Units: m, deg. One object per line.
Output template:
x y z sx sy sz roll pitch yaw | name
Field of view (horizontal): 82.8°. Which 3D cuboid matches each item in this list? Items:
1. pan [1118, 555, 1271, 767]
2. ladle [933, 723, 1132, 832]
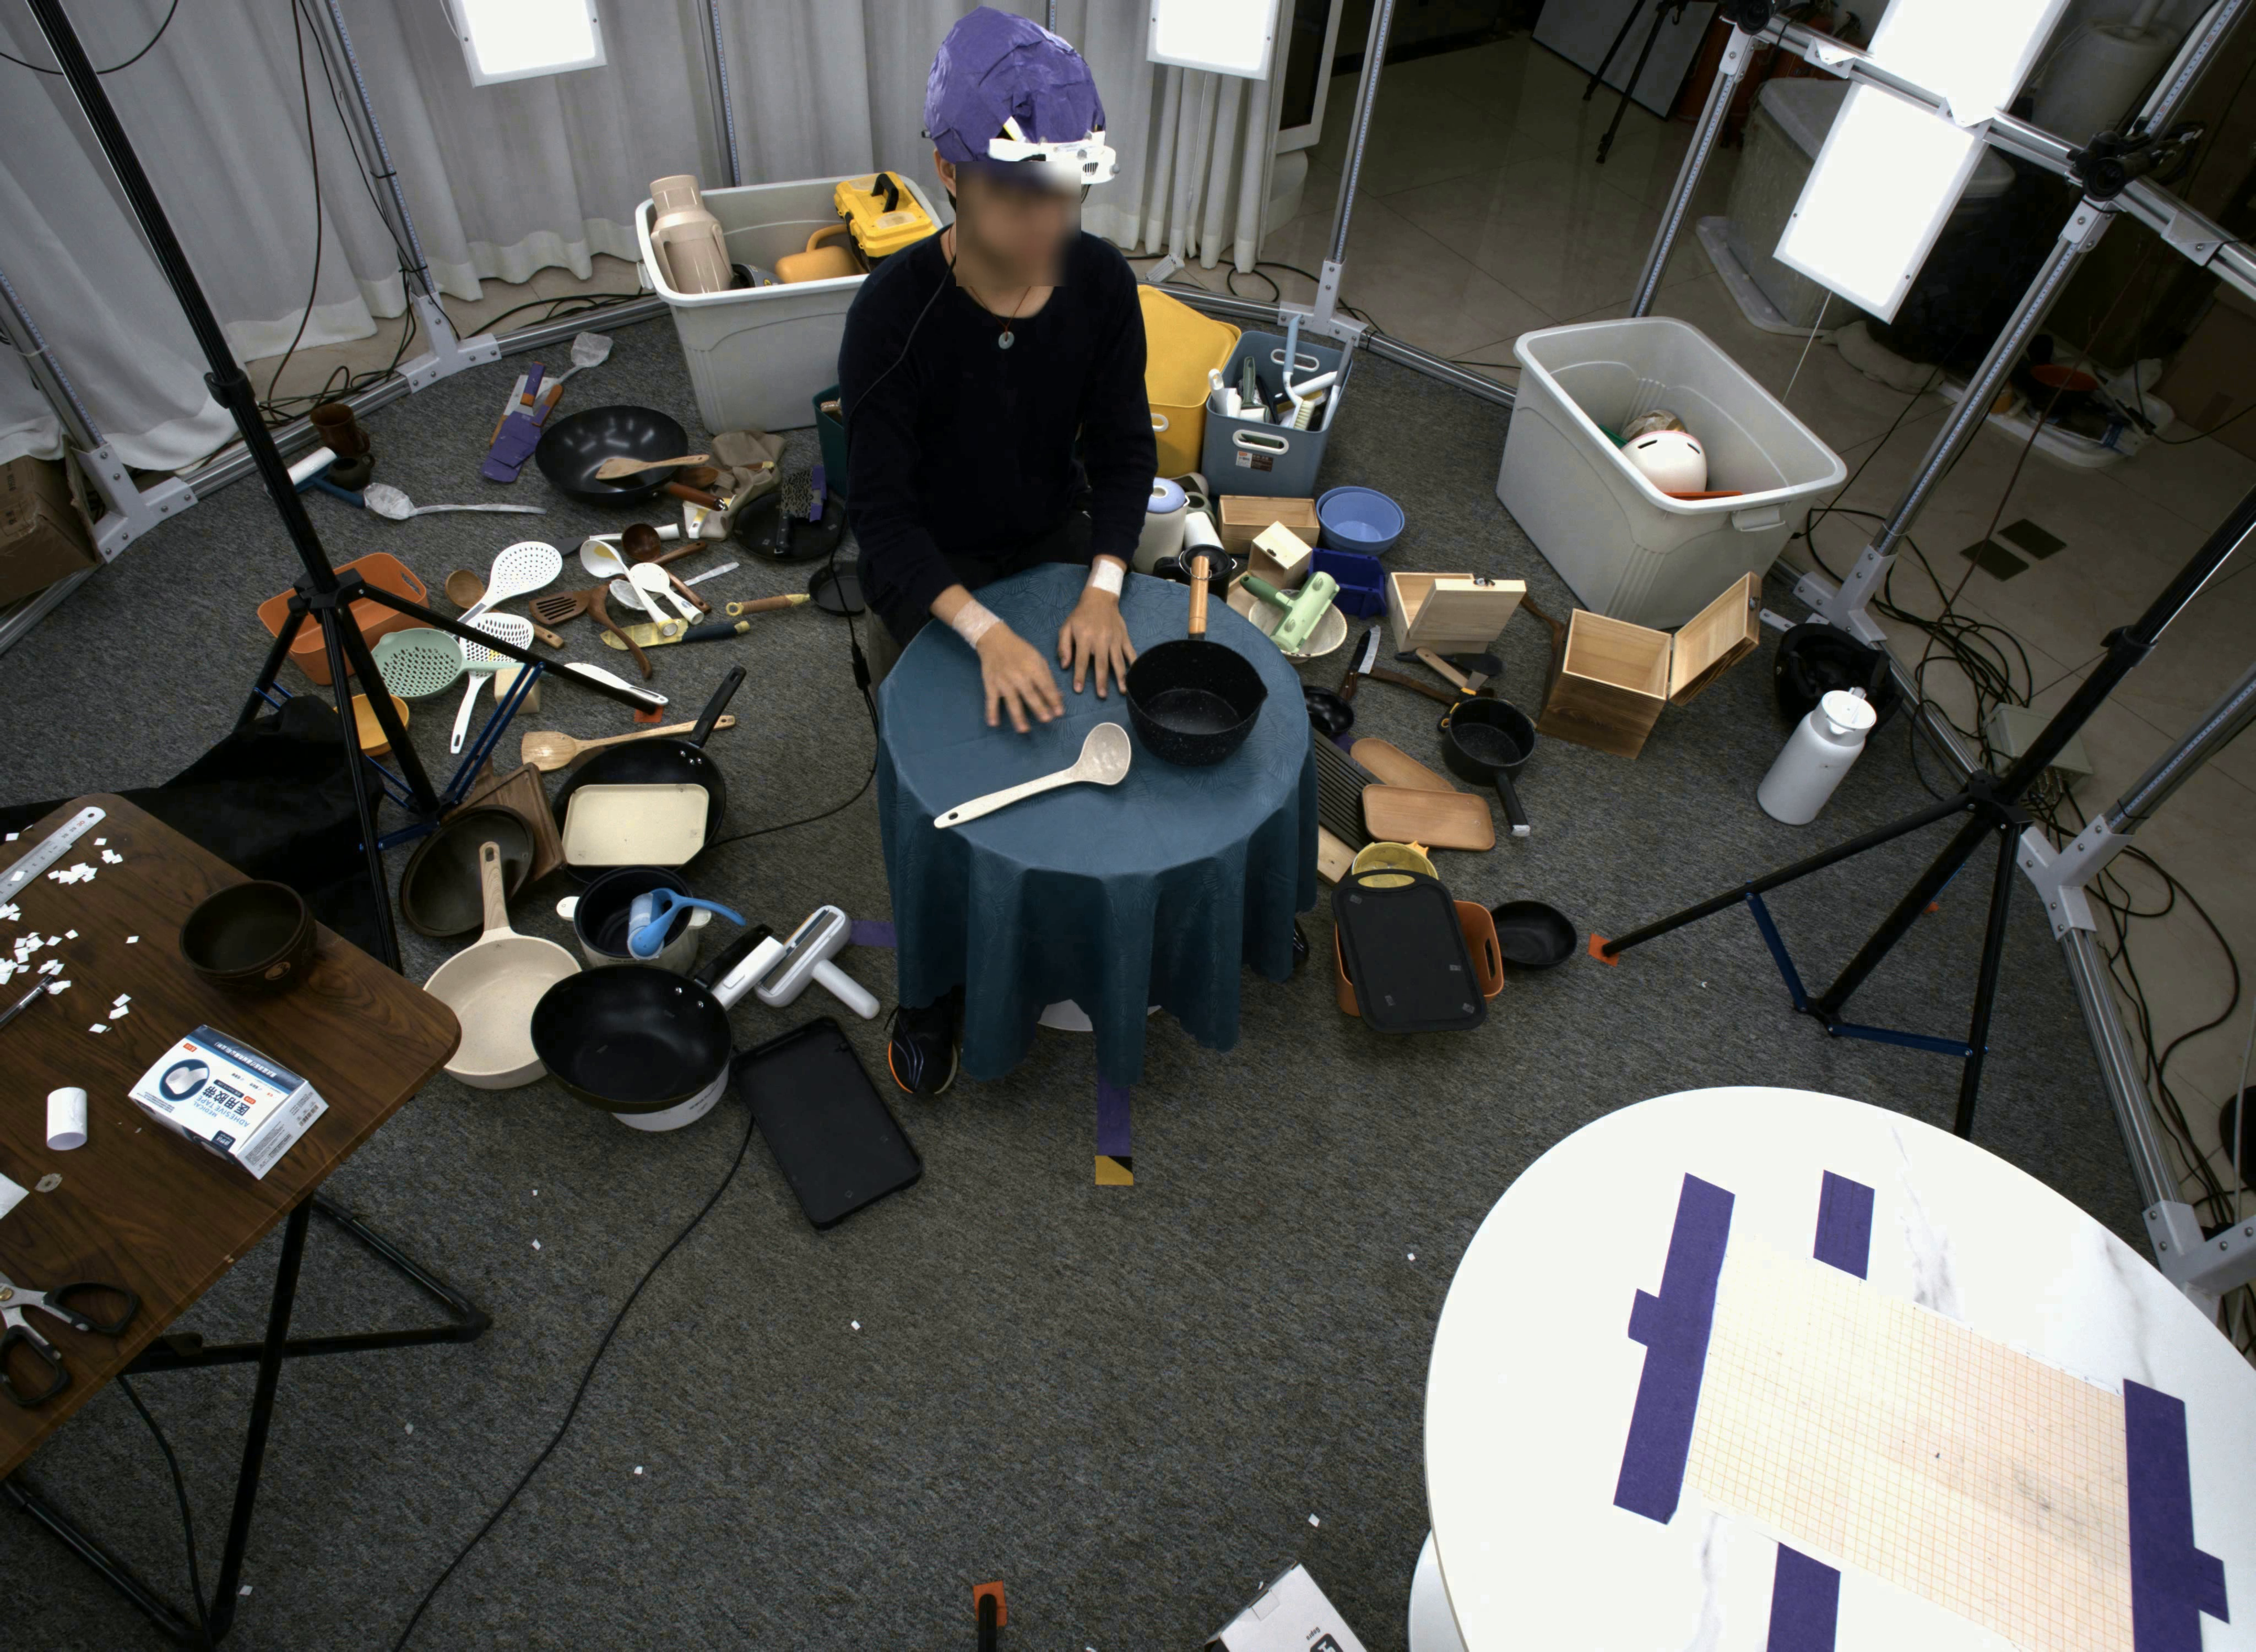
0.092 -0.233 1.808 0.207 0.105 0.351 3 50 0 | pan
-0.124 -0.059 1.670 0.275 0.068 0.091 -20 65 -19 | ladle
